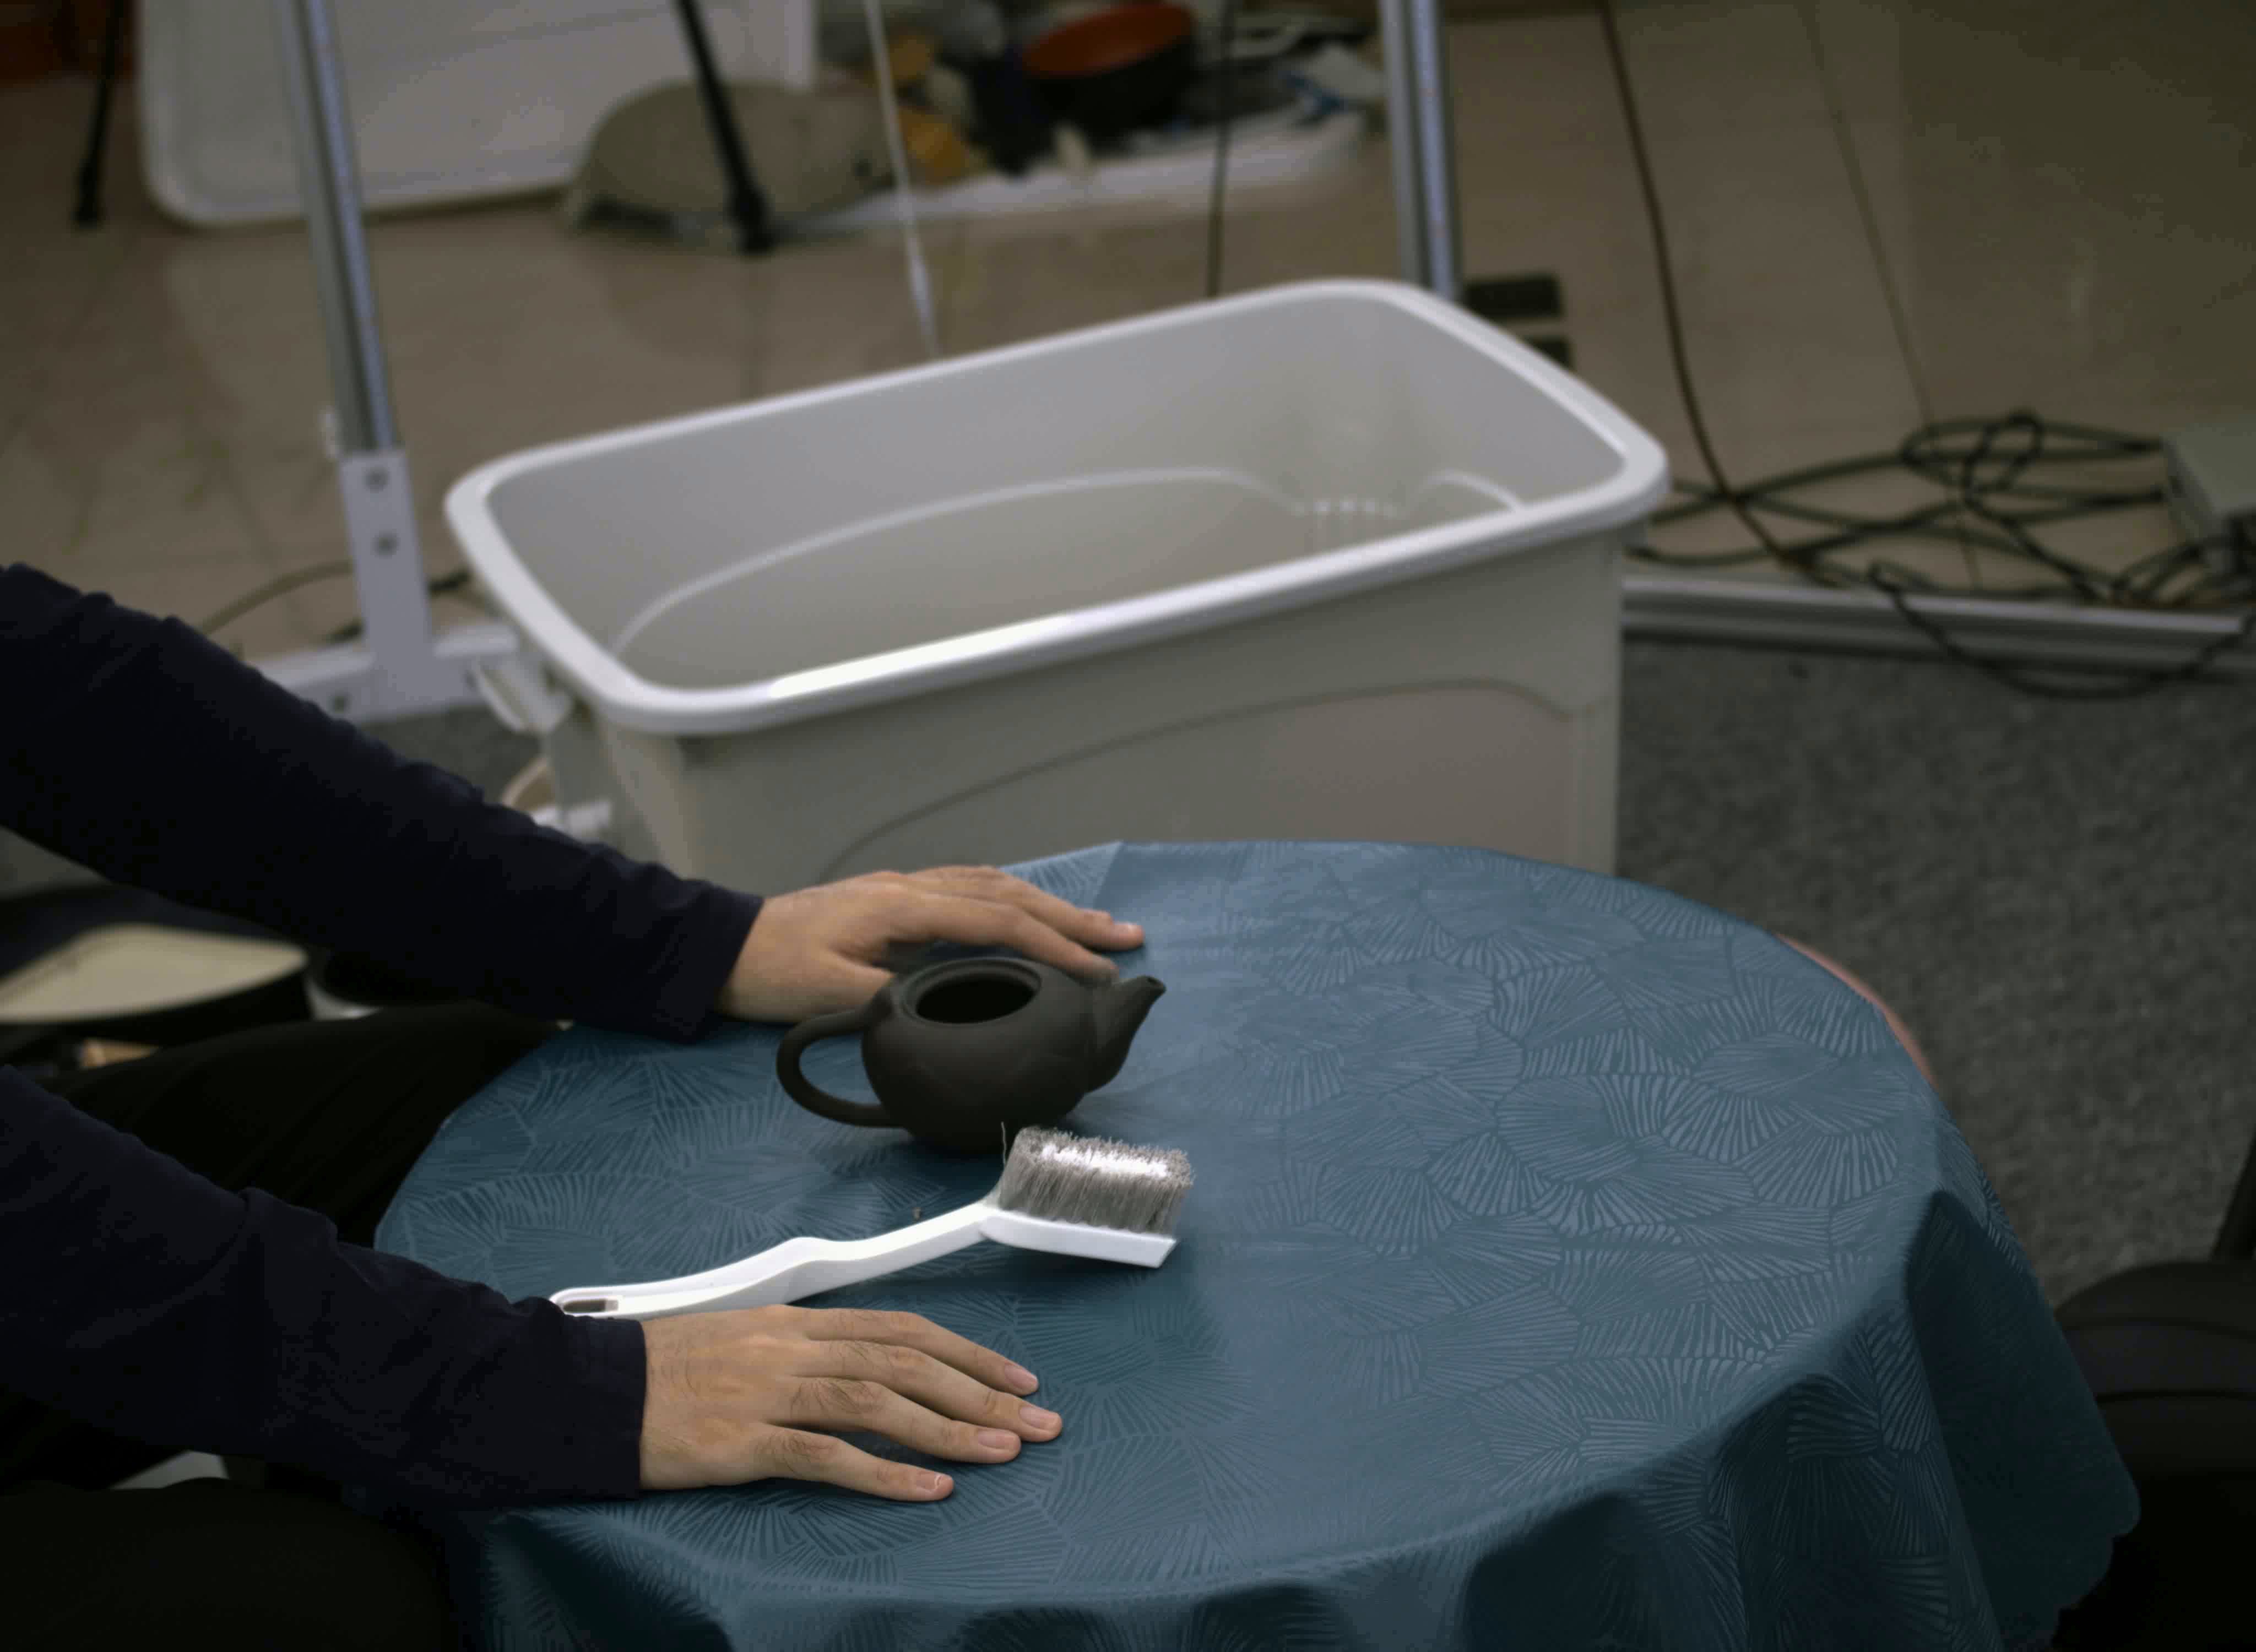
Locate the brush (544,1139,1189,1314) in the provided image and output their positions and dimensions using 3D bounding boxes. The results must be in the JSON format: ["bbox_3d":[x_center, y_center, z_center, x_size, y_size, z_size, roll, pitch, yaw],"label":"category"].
[{"bbox_3d":[-0.098,0.148,2.096,0.243,0.051,0.034,-5,31,2],"label":"brush"}]

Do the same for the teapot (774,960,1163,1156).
[{"bbox_3d":[-0.060,0.089,2.197,0.154,0.065,0.091,-7,26,0],"label":"teapot"}]
